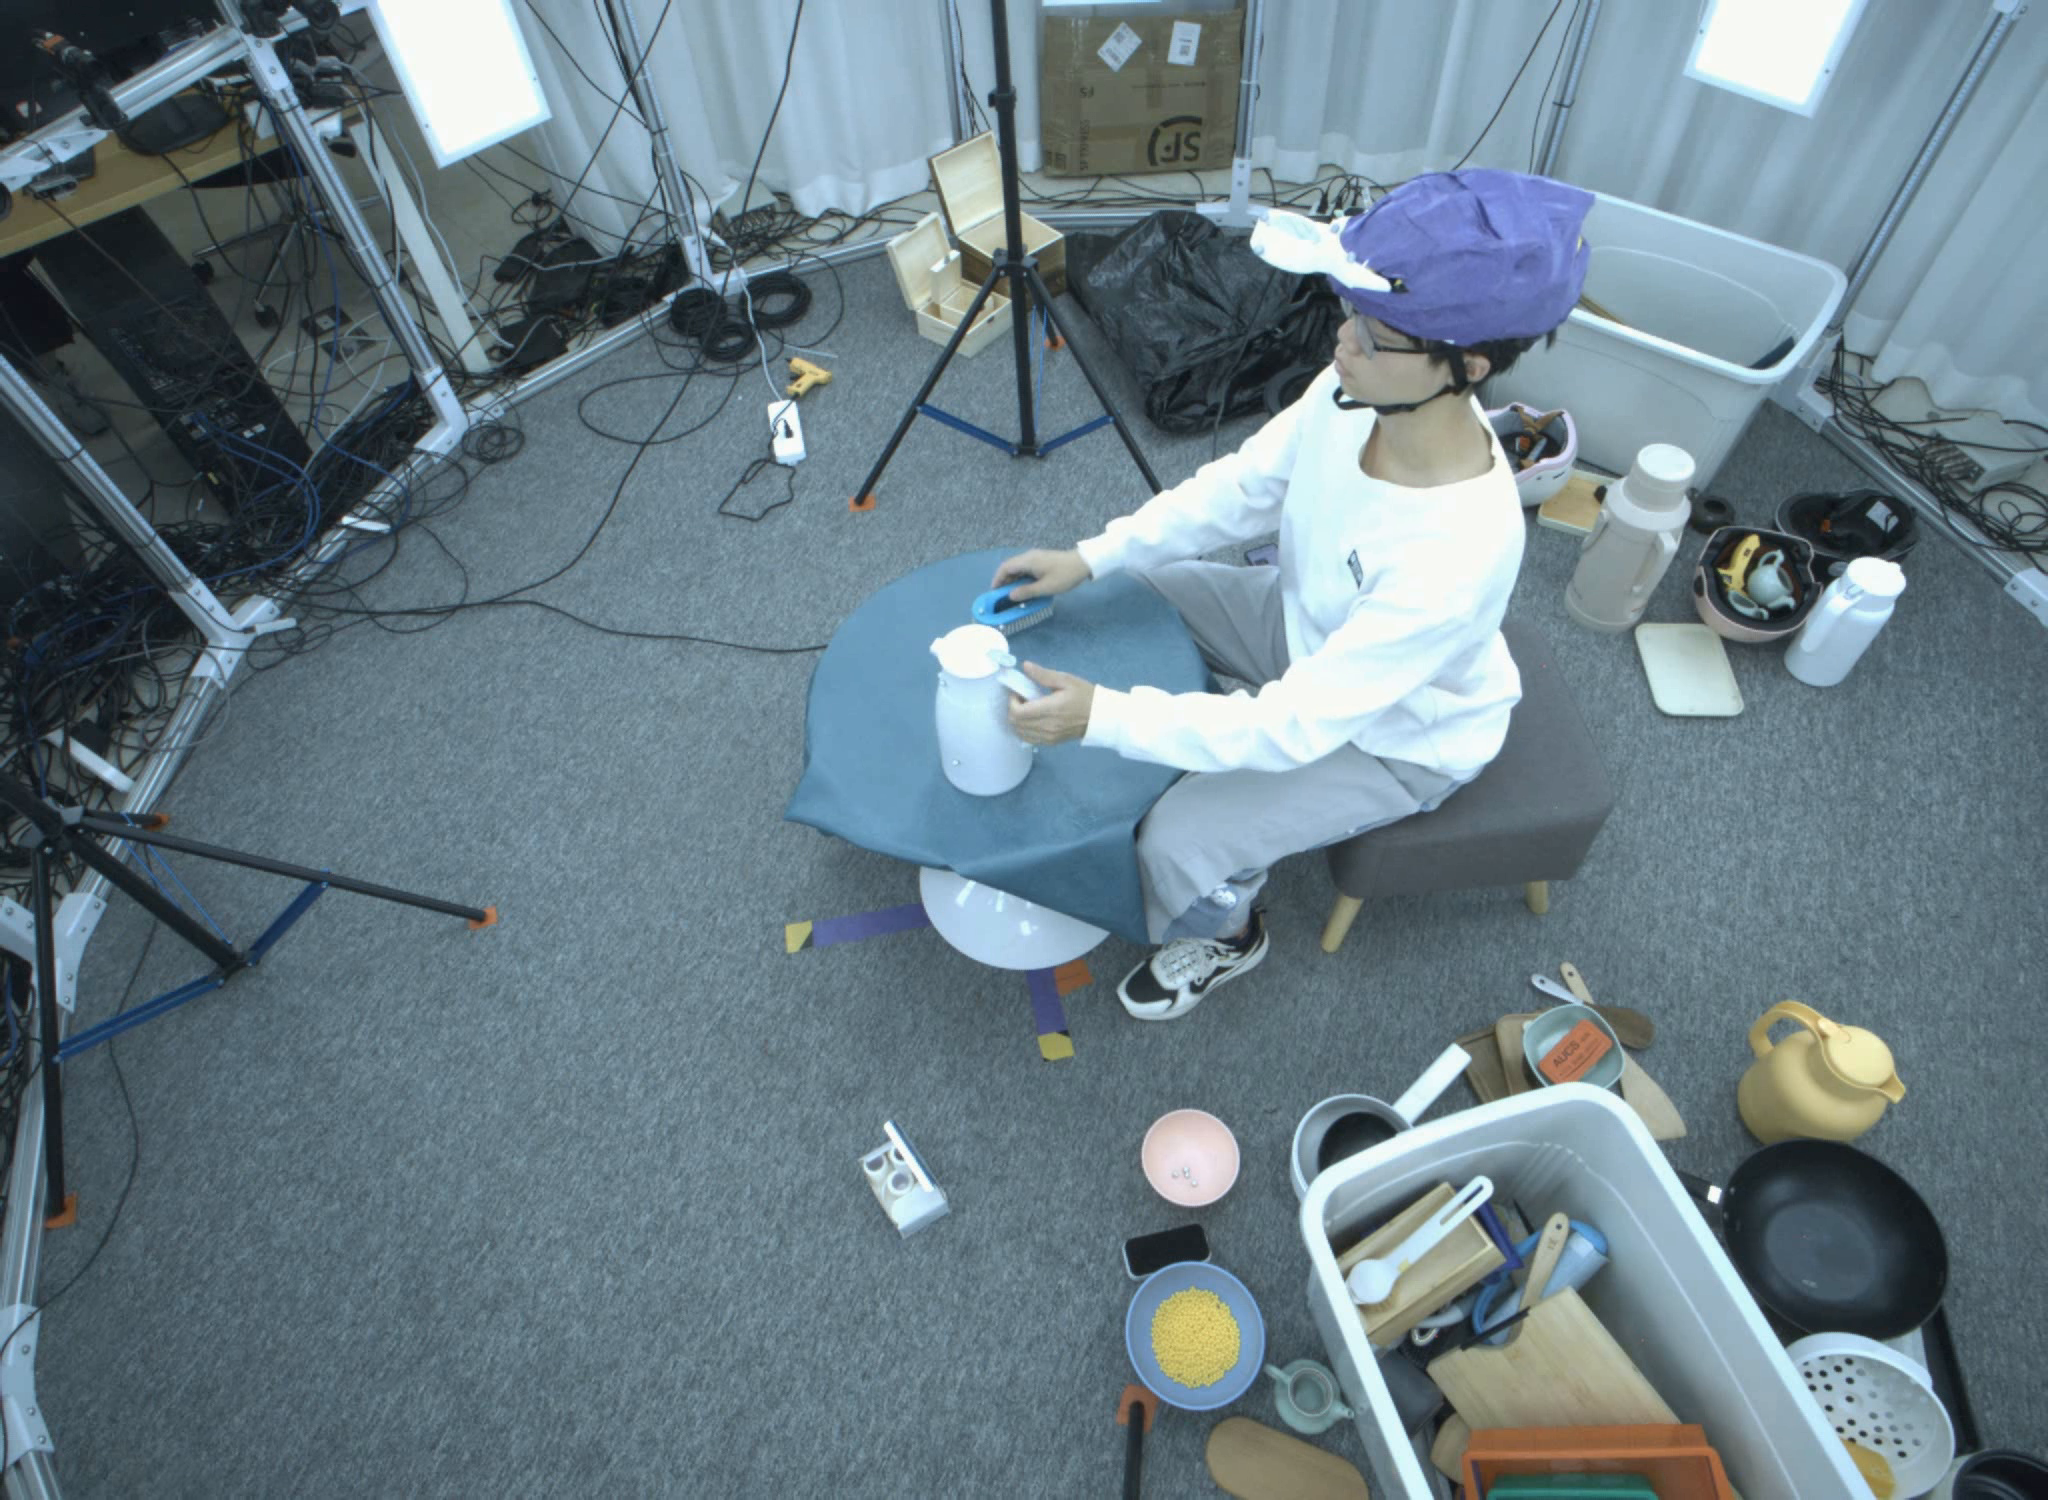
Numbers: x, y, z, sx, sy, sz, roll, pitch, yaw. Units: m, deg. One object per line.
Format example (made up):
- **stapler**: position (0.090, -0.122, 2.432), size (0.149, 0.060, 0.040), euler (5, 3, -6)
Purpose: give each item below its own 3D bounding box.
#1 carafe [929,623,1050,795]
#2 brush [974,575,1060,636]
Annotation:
- **carafe**: position (-0.042, -0.056, 1.671), size (0.166, 0.251, 0.132), euler (20, 58, 16)
- **brush**: position (-0.014, -0.235, 1.914), size (0.143, 0.064, 0.082), euler (-22, 51, -16)
